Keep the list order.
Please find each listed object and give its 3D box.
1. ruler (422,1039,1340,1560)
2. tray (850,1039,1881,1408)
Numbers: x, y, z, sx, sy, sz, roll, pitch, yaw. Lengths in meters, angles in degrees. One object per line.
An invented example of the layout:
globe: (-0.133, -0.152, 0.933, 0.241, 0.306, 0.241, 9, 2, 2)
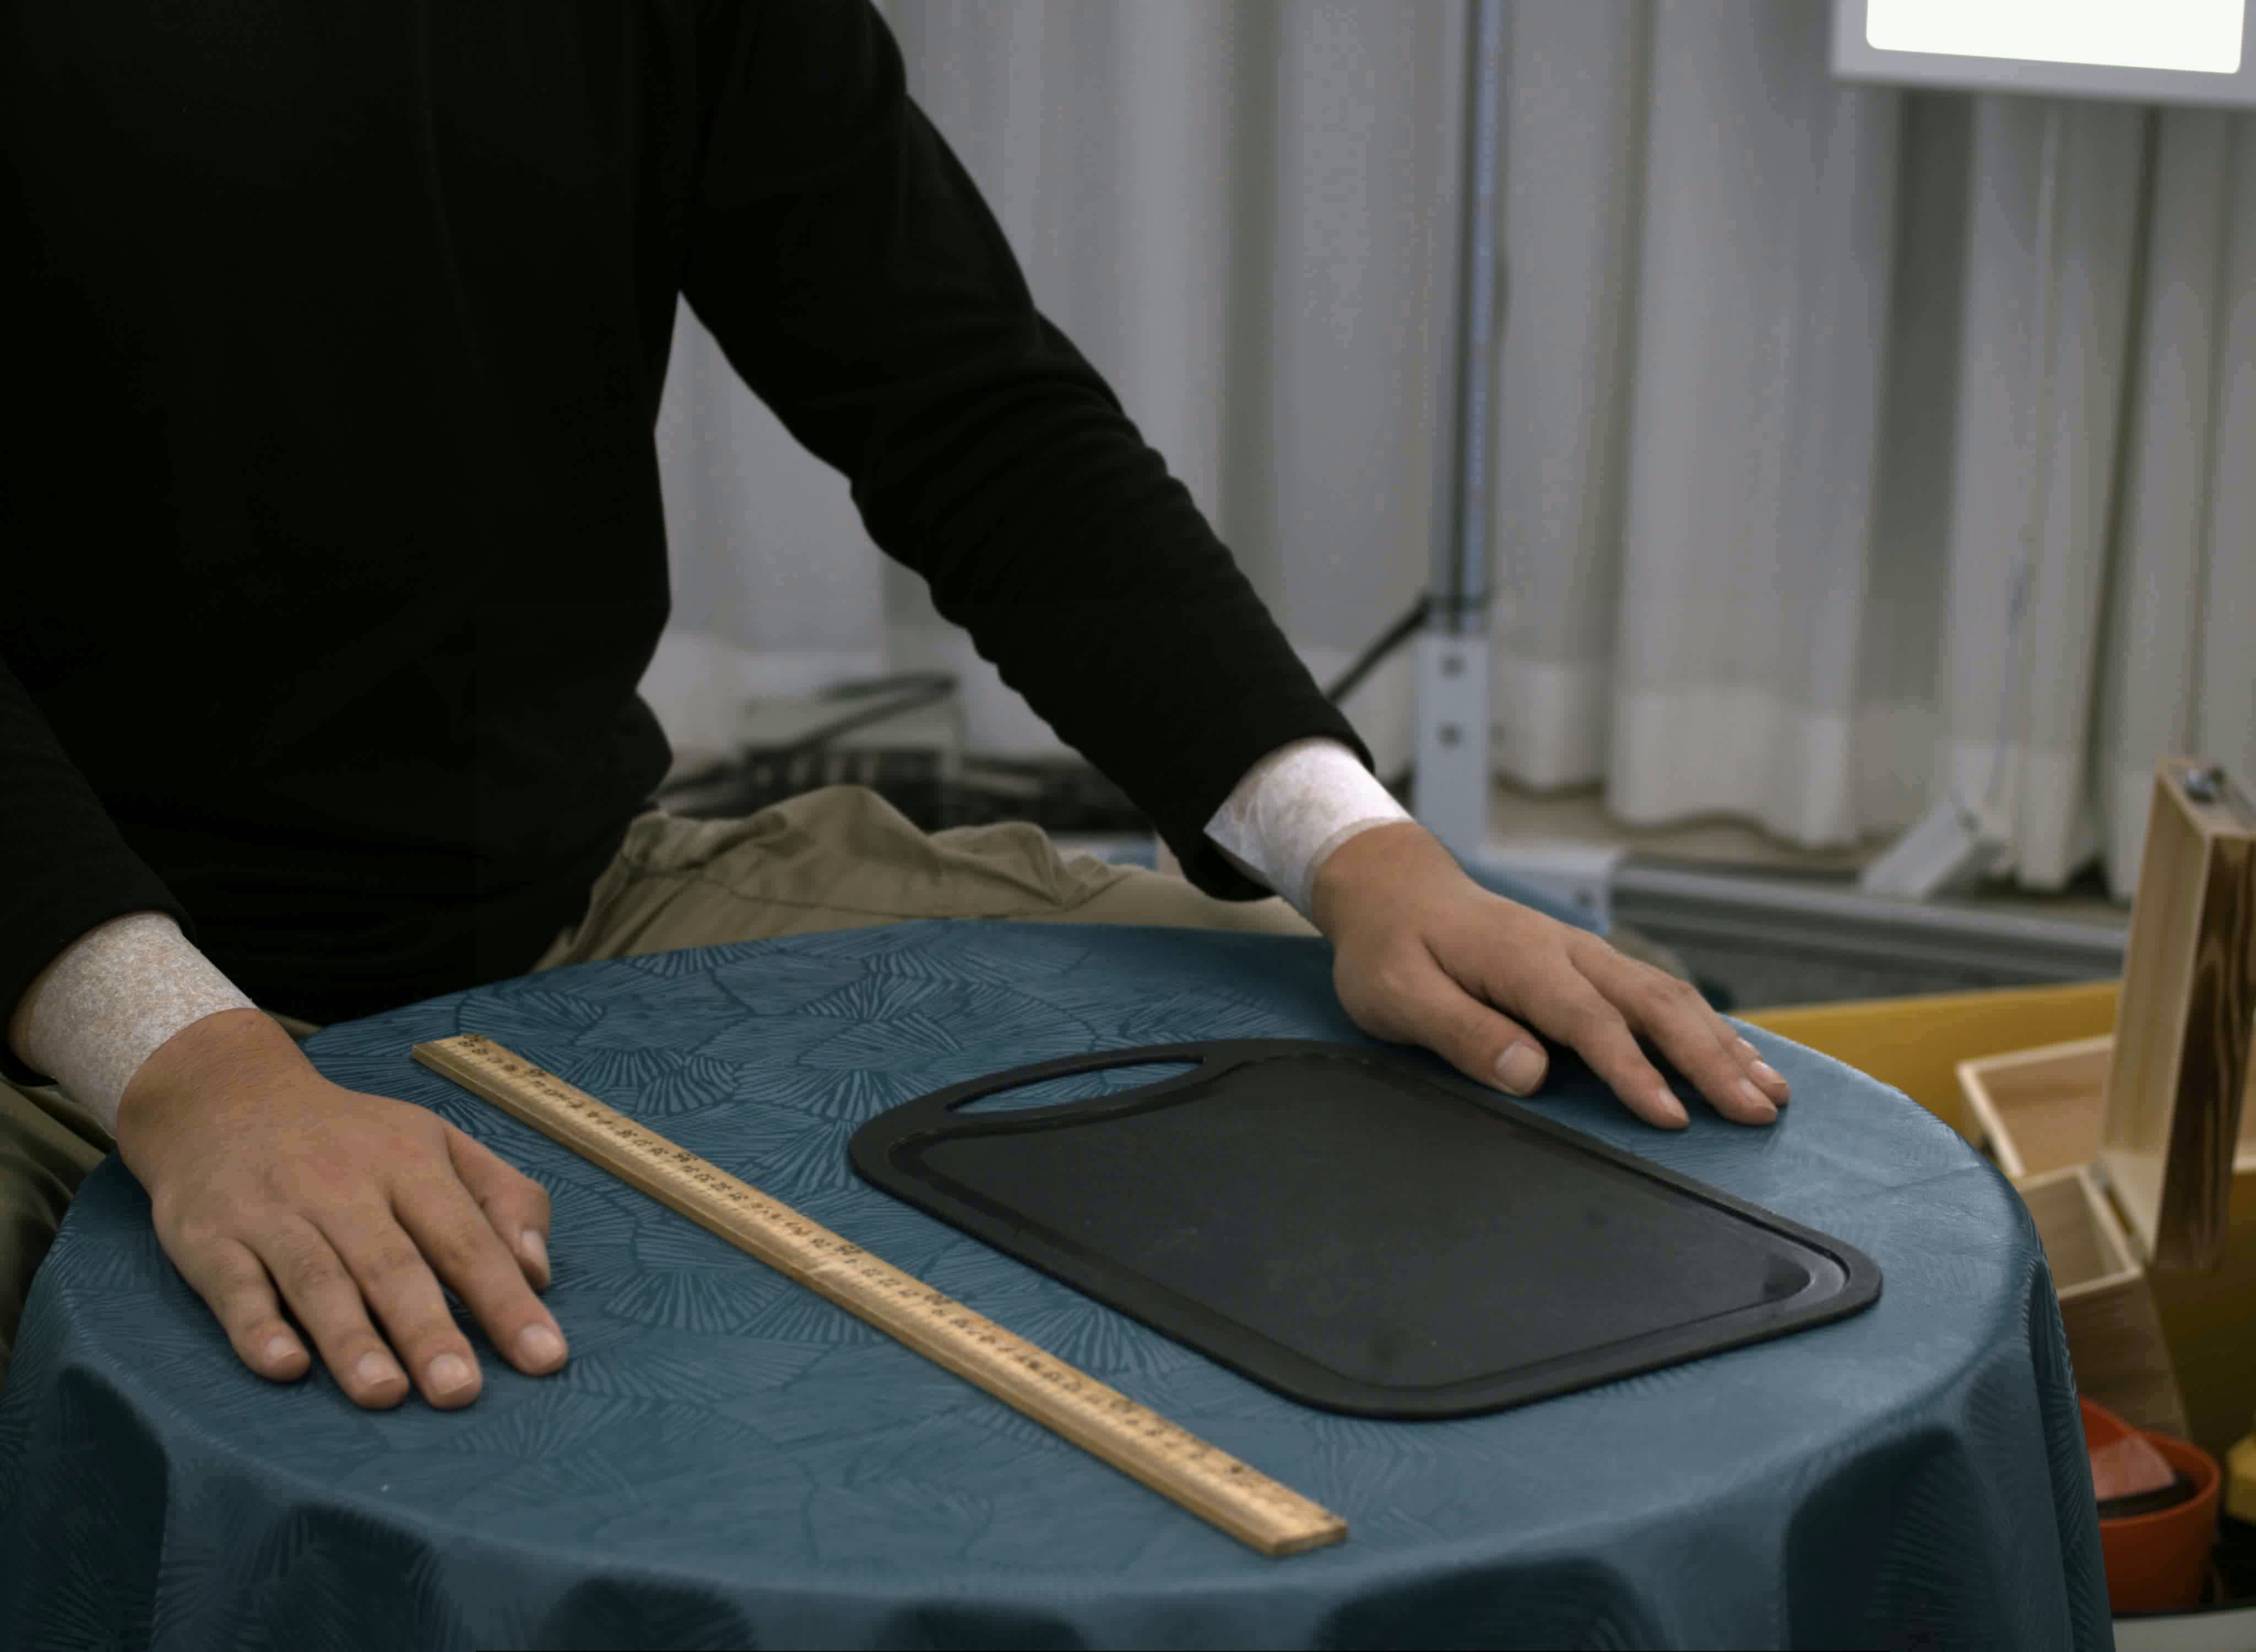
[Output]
ruler: (-0.088, 0.129, 1.549, 0.027, 0.006, 0.494, -8, 17, -32)
tray: (0.061, 0.113, 1.606, 0.212, 0.010, 0.321, -10, 18, -33)
